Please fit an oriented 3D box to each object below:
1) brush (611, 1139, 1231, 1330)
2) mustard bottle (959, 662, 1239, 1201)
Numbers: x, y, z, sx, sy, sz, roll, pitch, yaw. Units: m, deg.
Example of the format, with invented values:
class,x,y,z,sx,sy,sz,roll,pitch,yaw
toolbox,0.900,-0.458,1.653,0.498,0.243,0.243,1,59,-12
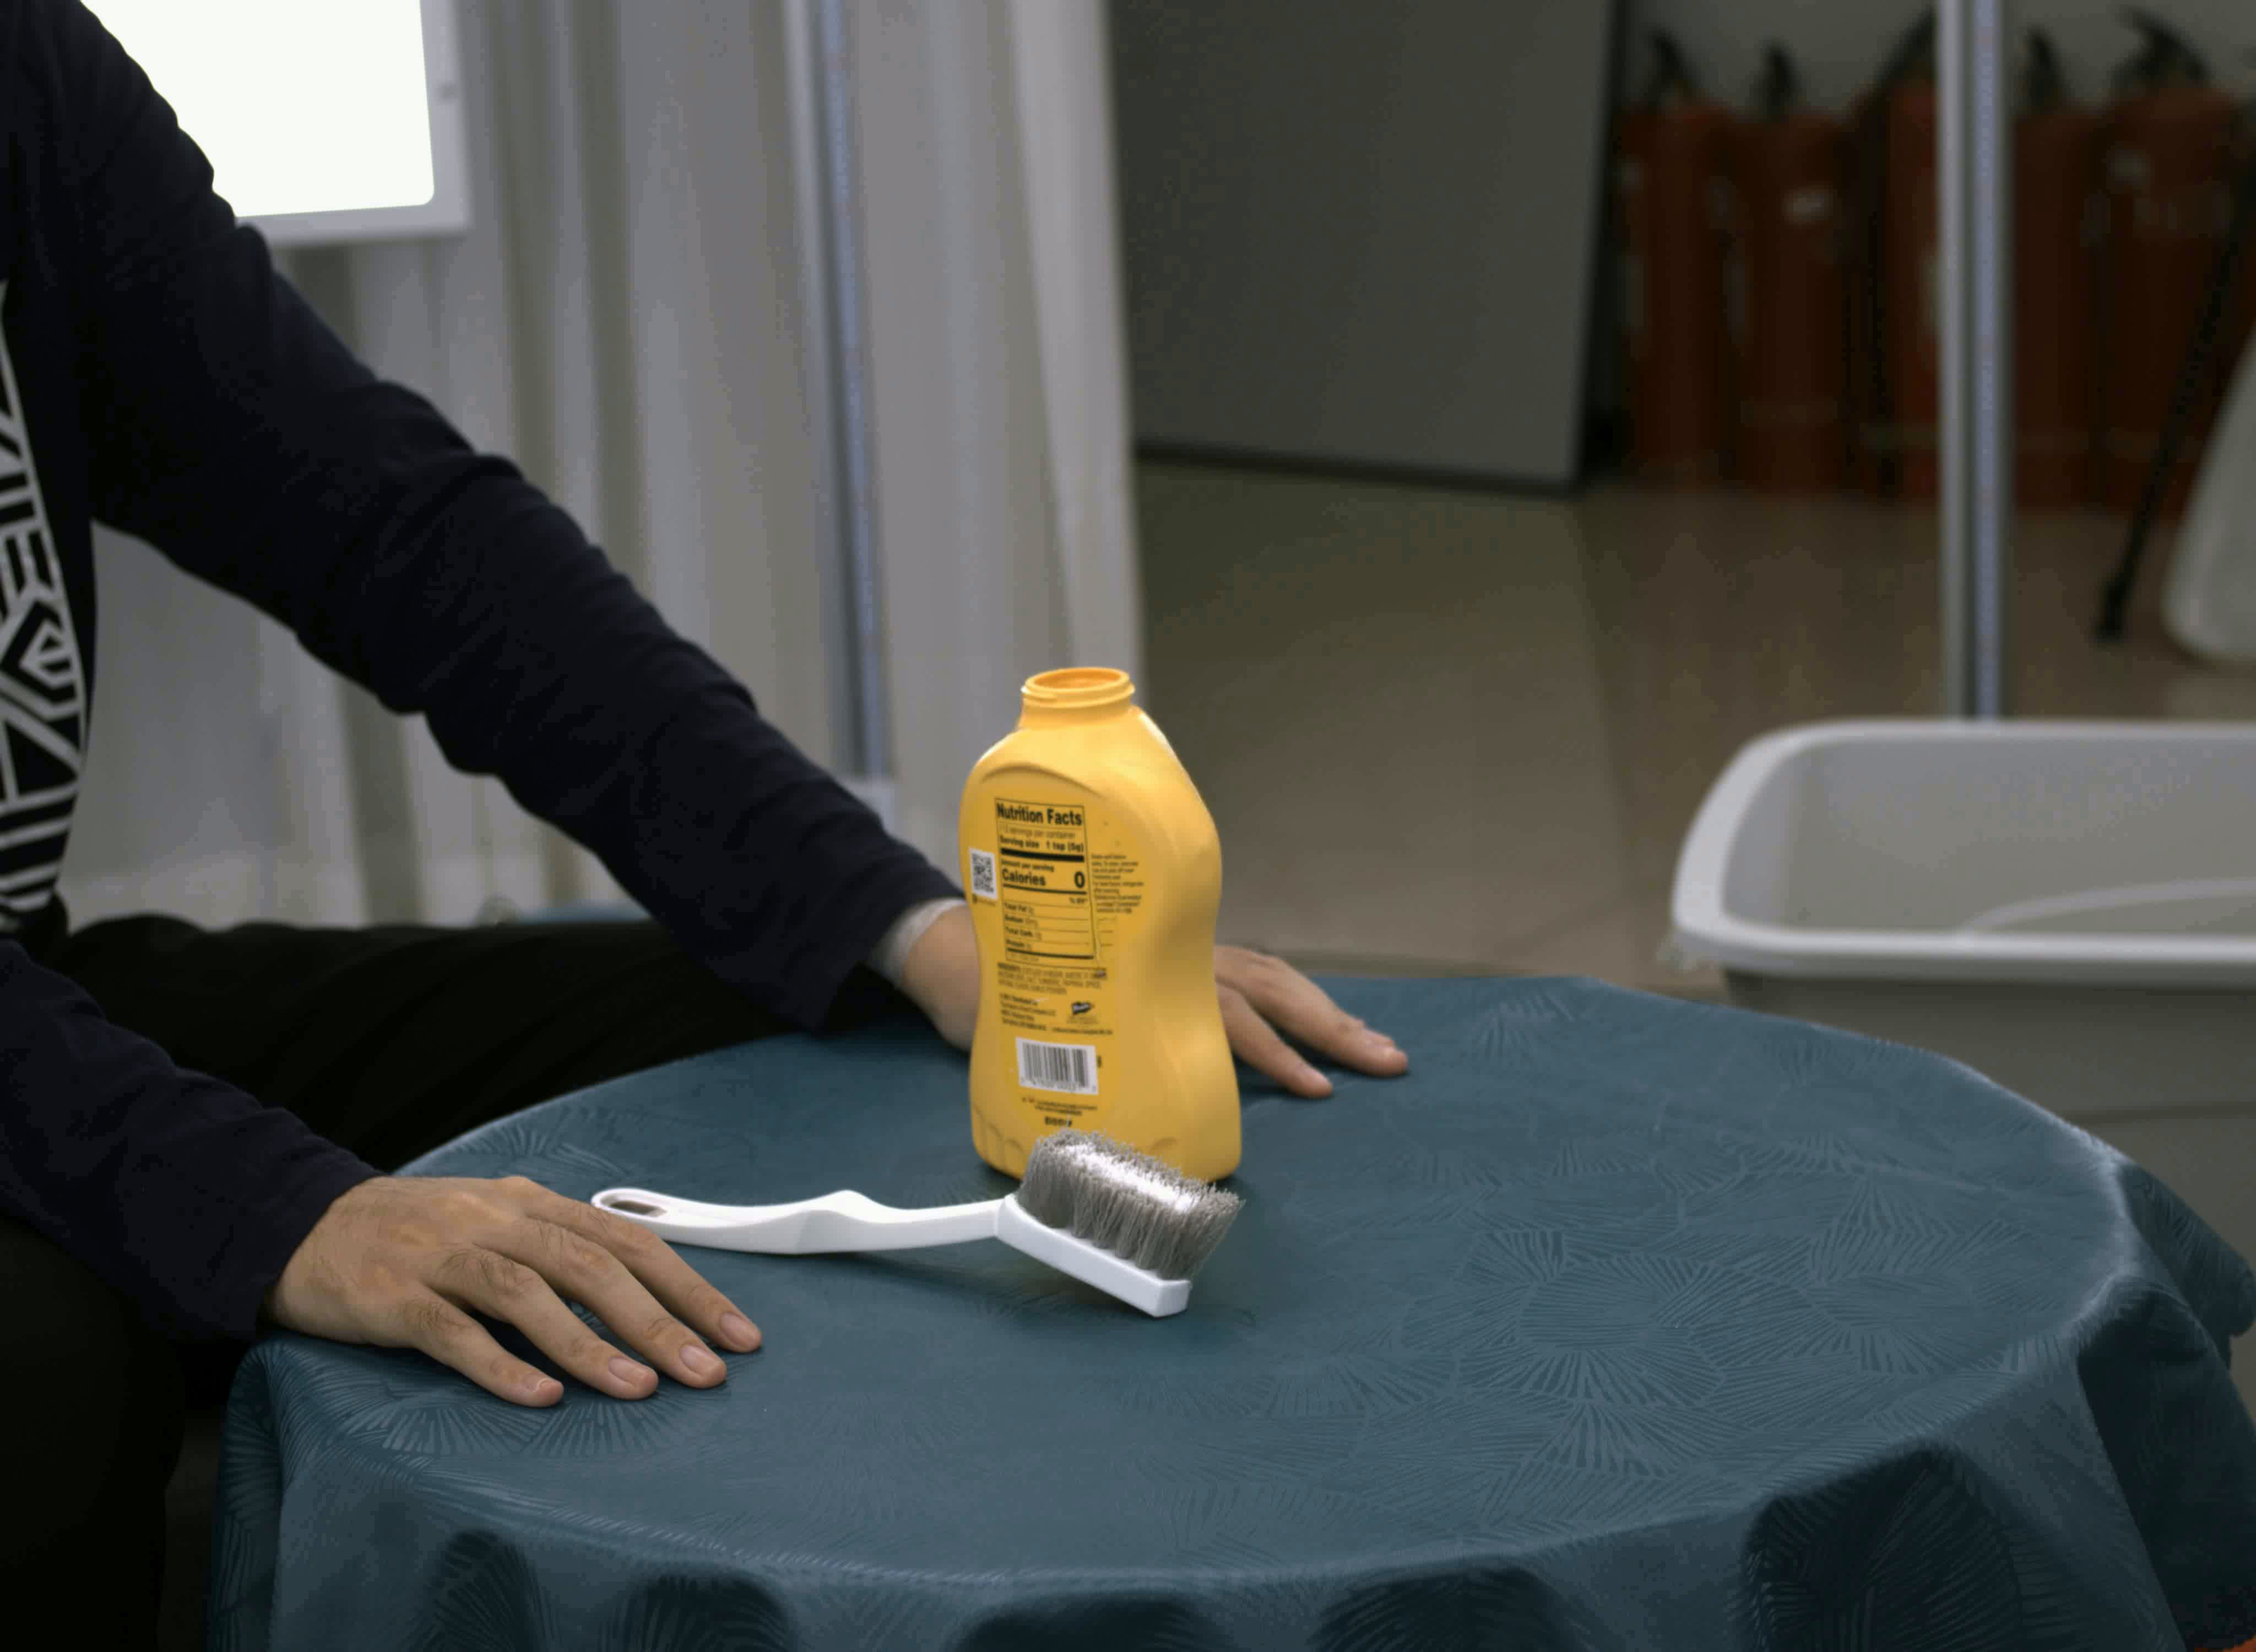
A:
class,x,y,z,sx,sy,sz,roll,pitch,yaw
brush,-0.072,0.117,1.713,0.245,0.051,0.034,6,21,37
mustard bottle,-0.012,0.033,1.777,0.099,0.174,0.058,3,12,34
